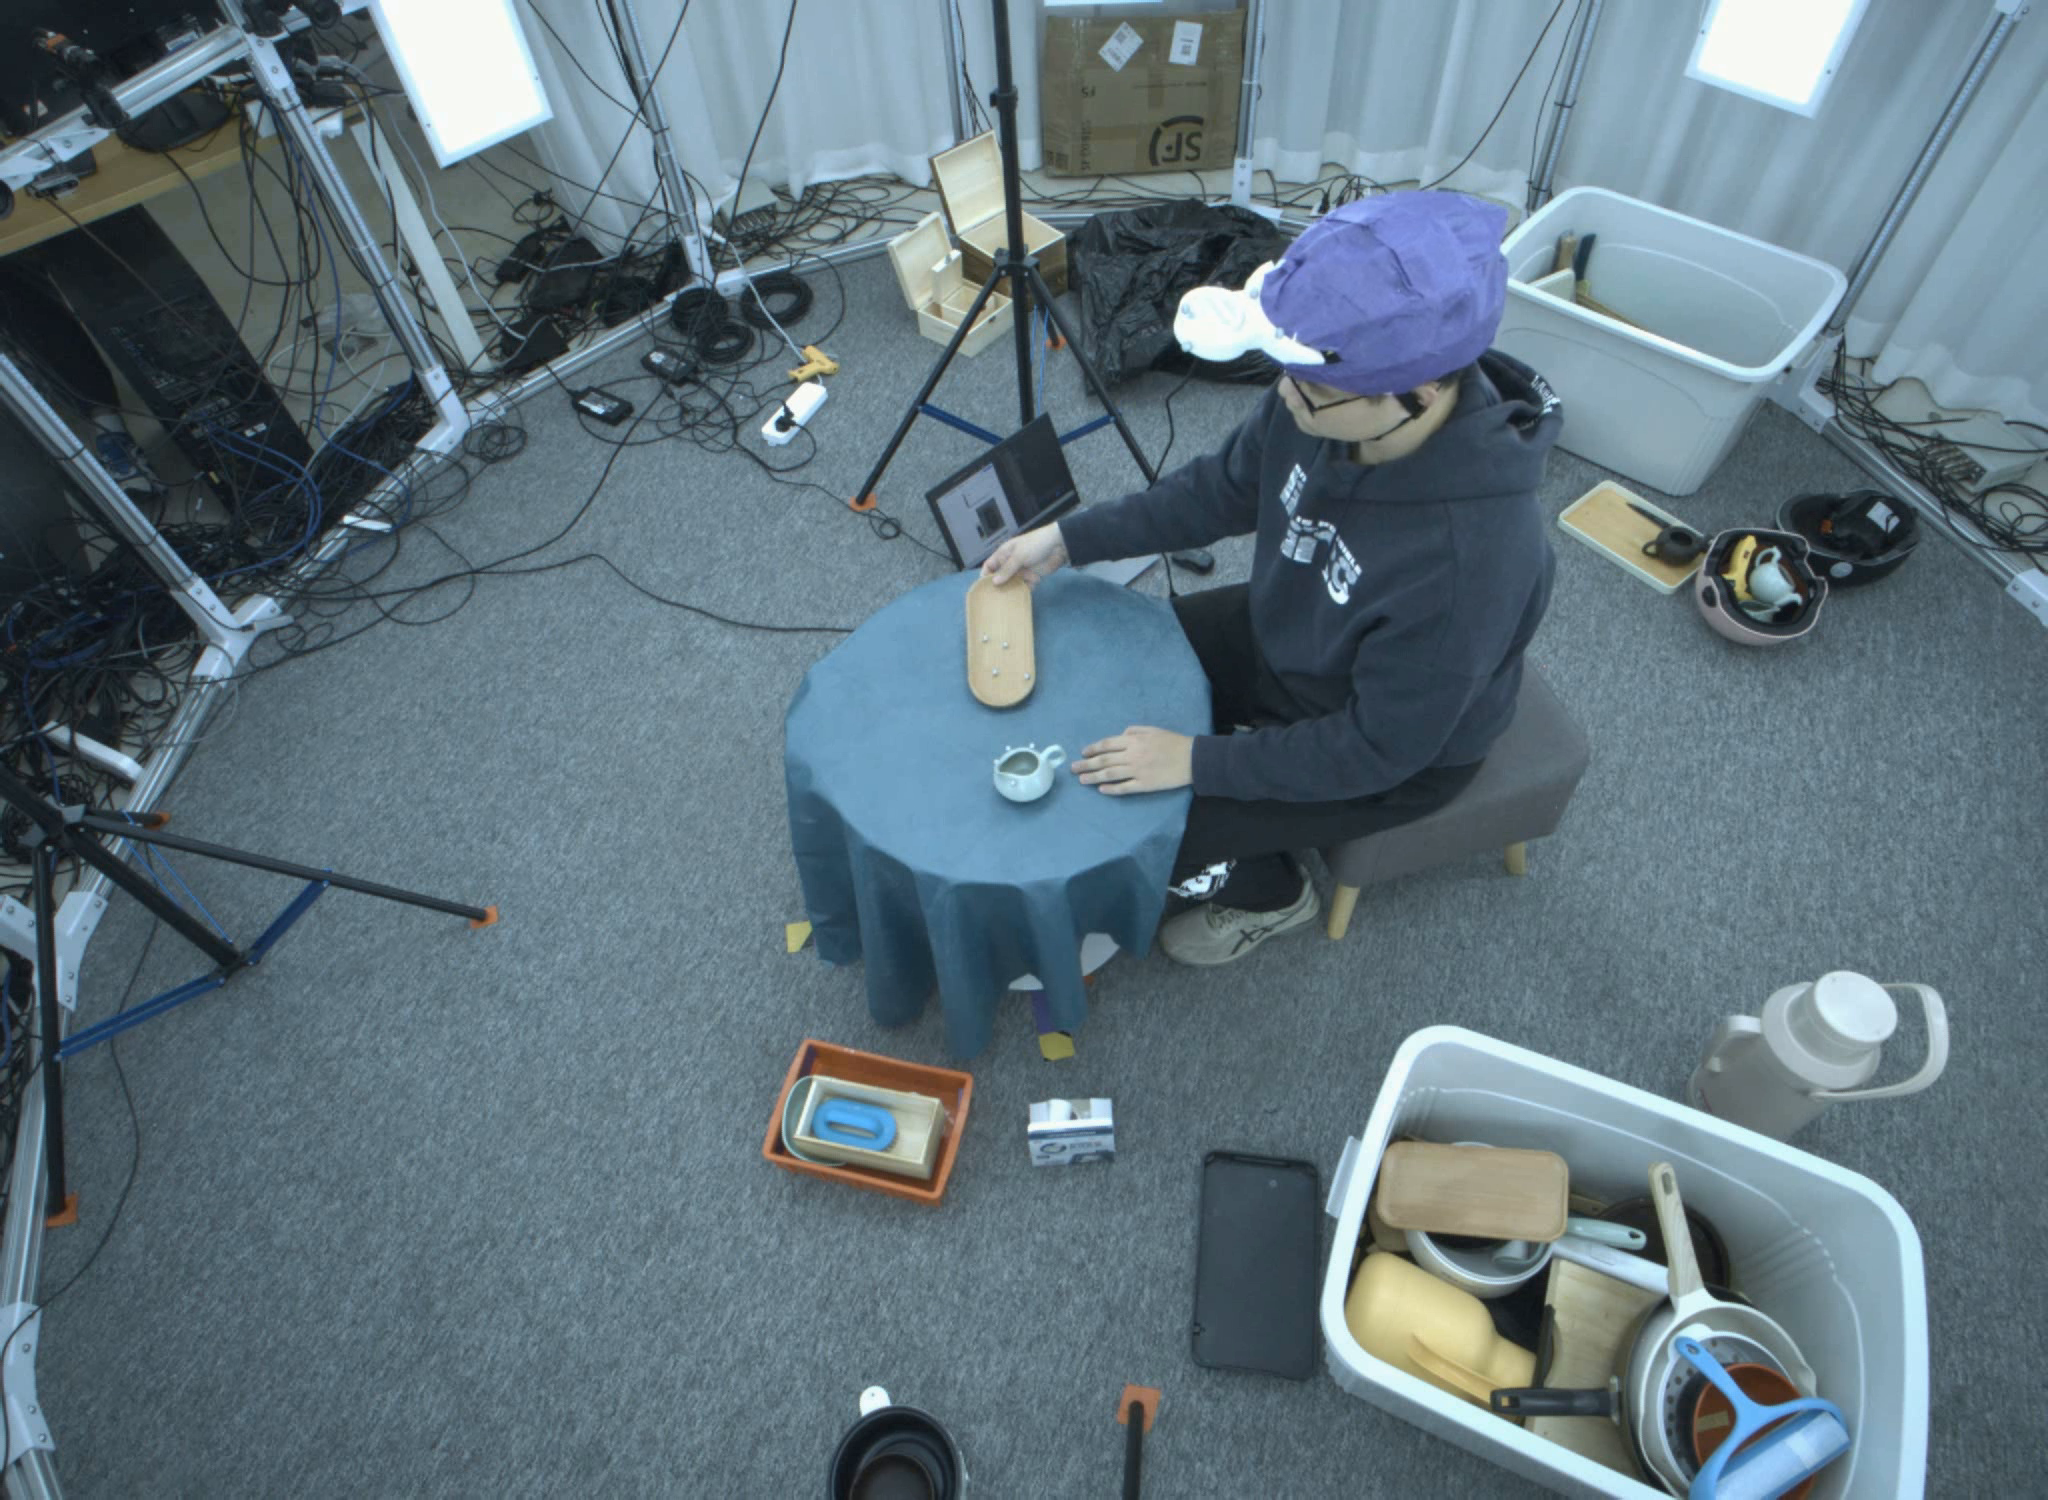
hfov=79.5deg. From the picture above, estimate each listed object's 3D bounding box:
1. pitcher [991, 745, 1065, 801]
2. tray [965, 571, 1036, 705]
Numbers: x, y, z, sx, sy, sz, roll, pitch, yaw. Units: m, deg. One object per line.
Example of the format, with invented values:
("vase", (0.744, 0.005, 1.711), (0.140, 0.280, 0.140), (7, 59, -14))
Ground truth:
("pitcher", (0.007, 0.027, 1.735), (0.109, 0.061, 0.084), (-20, 57, -14))
("tray", (-0.037, -0.172, 1.871), (0.102, 0.020, 0.229), (-3, 65, -2))
